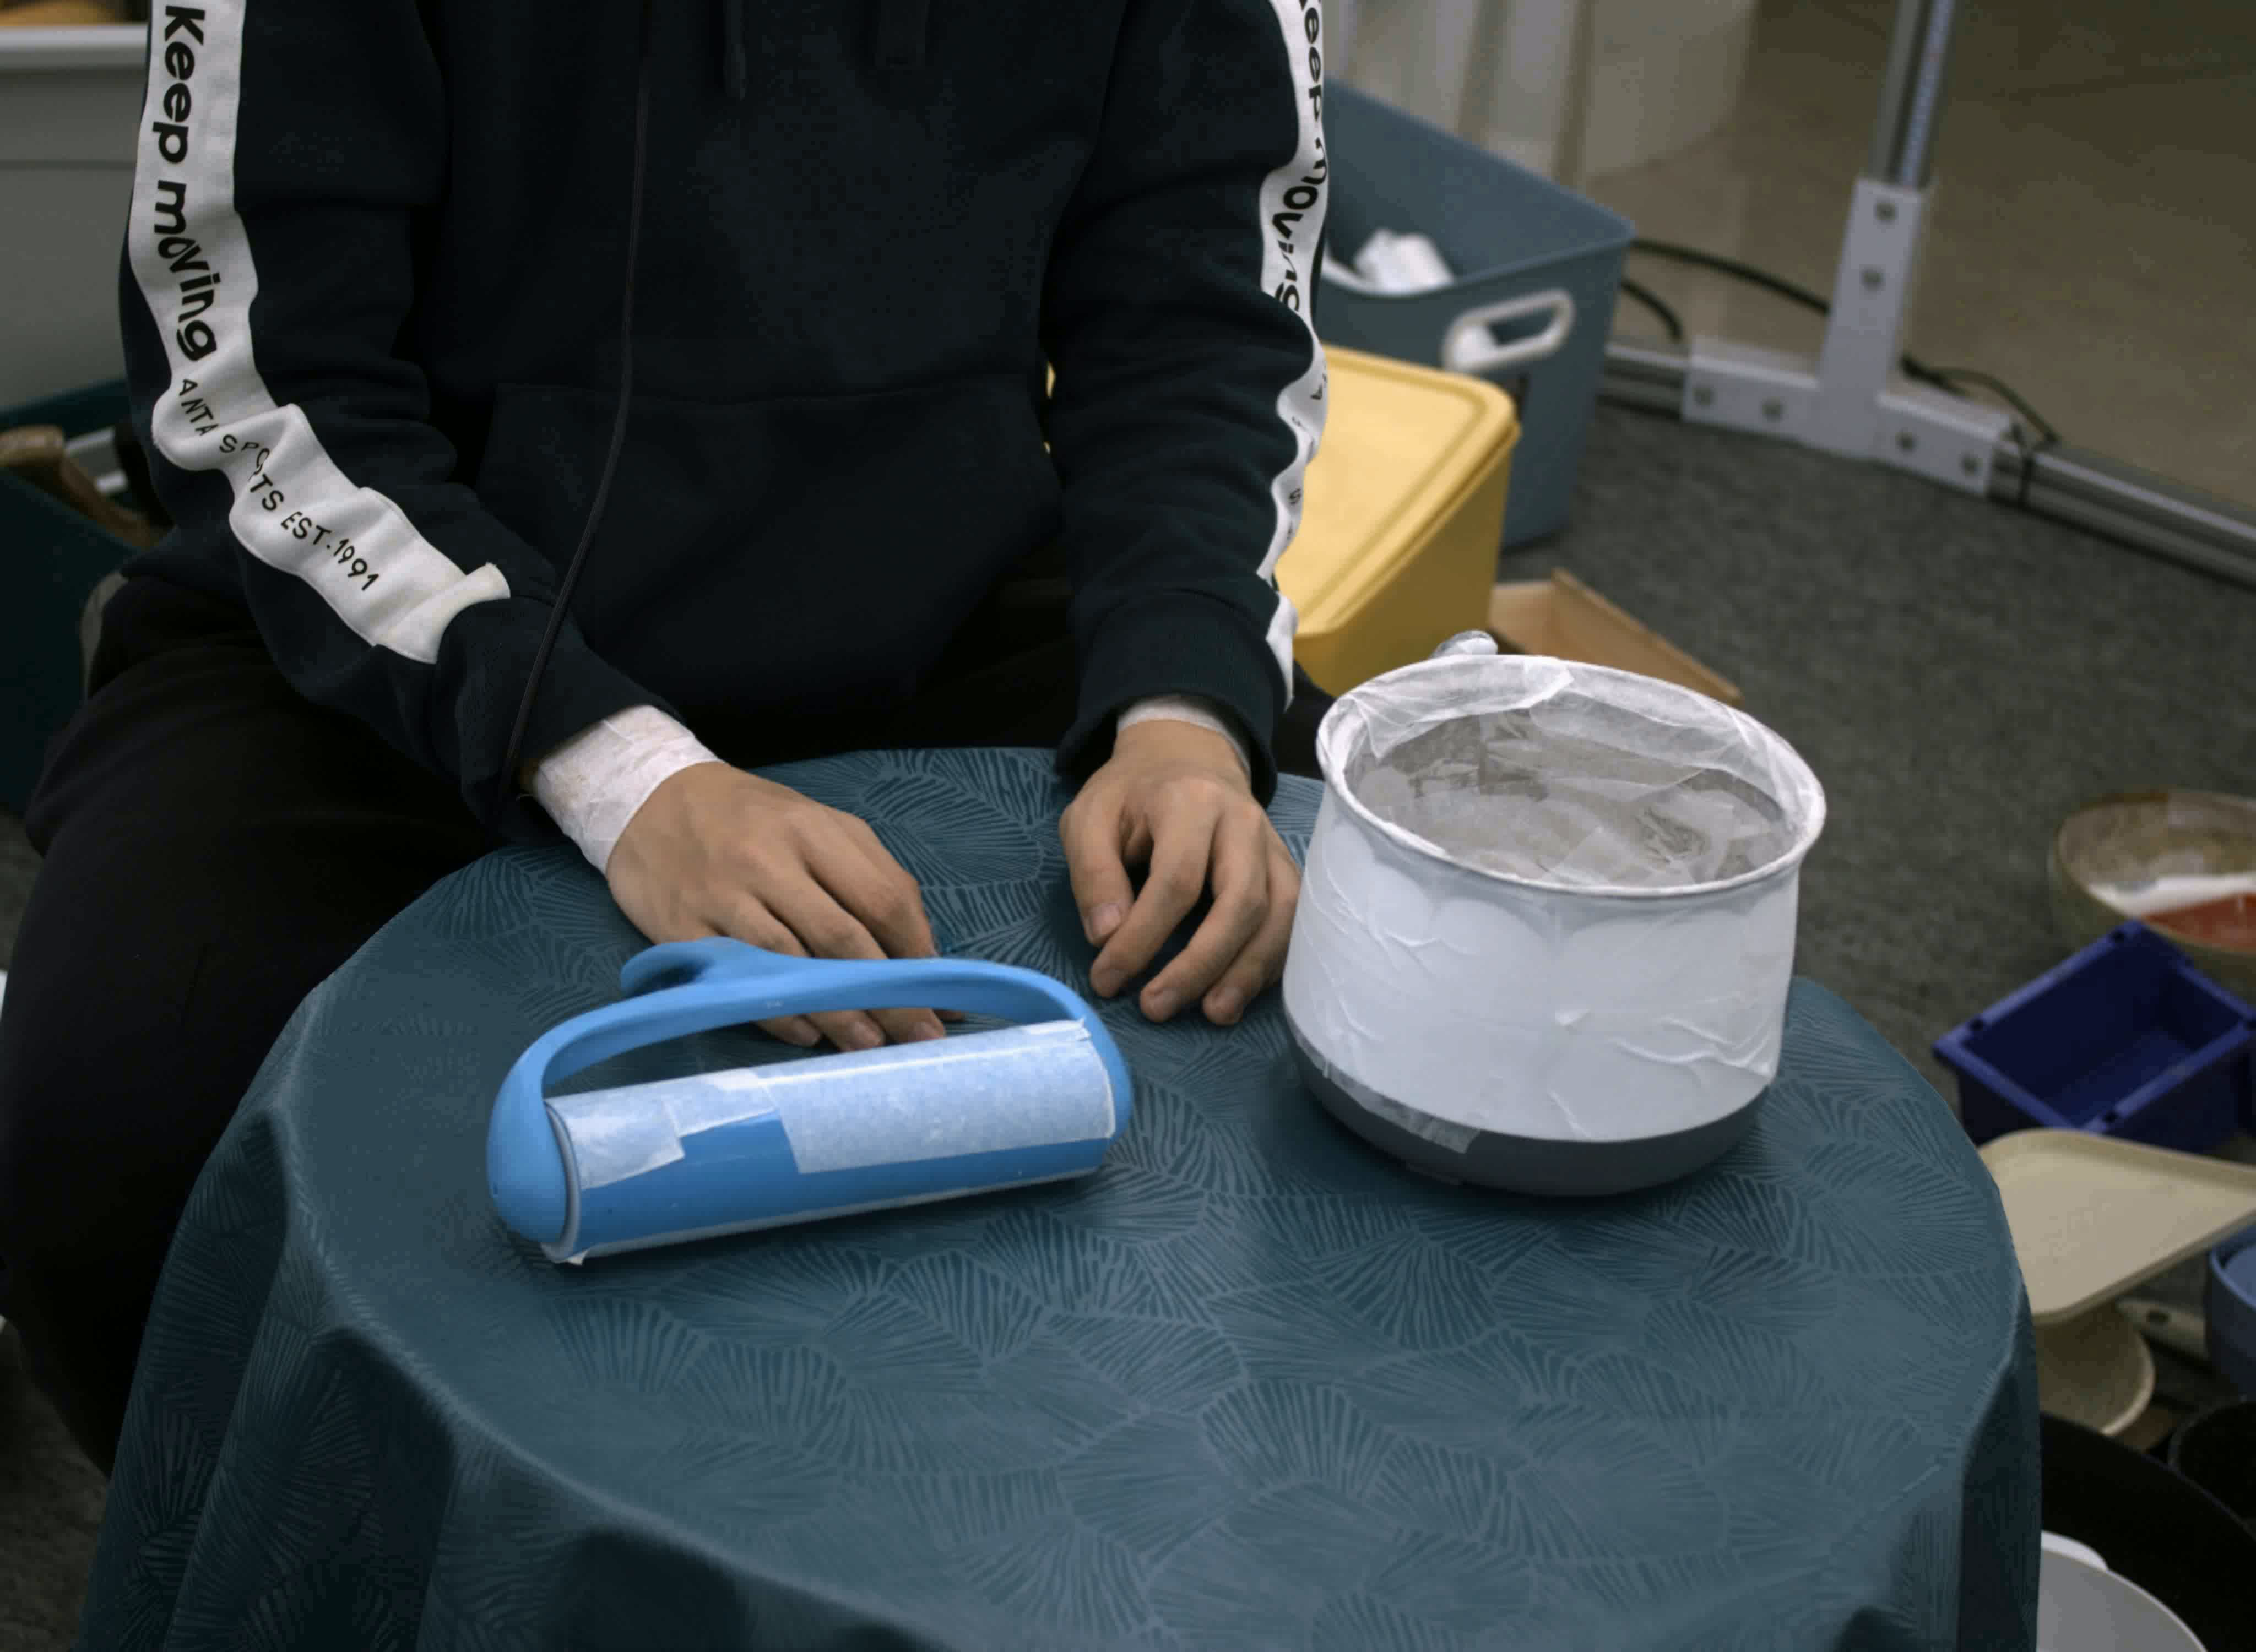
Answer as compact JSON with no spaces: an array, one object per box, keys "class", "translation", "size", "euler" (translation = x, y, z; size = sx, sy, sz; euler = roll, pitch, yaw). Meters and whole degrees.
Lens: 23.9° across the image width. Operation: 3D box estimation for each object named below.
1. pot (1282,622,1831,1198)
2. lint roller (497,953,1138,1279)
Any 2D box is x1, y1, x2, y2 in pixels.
[{"class":"pot","translation":[0.137,0.022,1.873],"size":[0.177,0.136,0.236],"euler":[-2,29,-18]},{"class":"lint roller","translation":[-0.129,0.078,1.799],"size":[0.227,0.067,0.182],"euler":[-12,33,-28]}]
